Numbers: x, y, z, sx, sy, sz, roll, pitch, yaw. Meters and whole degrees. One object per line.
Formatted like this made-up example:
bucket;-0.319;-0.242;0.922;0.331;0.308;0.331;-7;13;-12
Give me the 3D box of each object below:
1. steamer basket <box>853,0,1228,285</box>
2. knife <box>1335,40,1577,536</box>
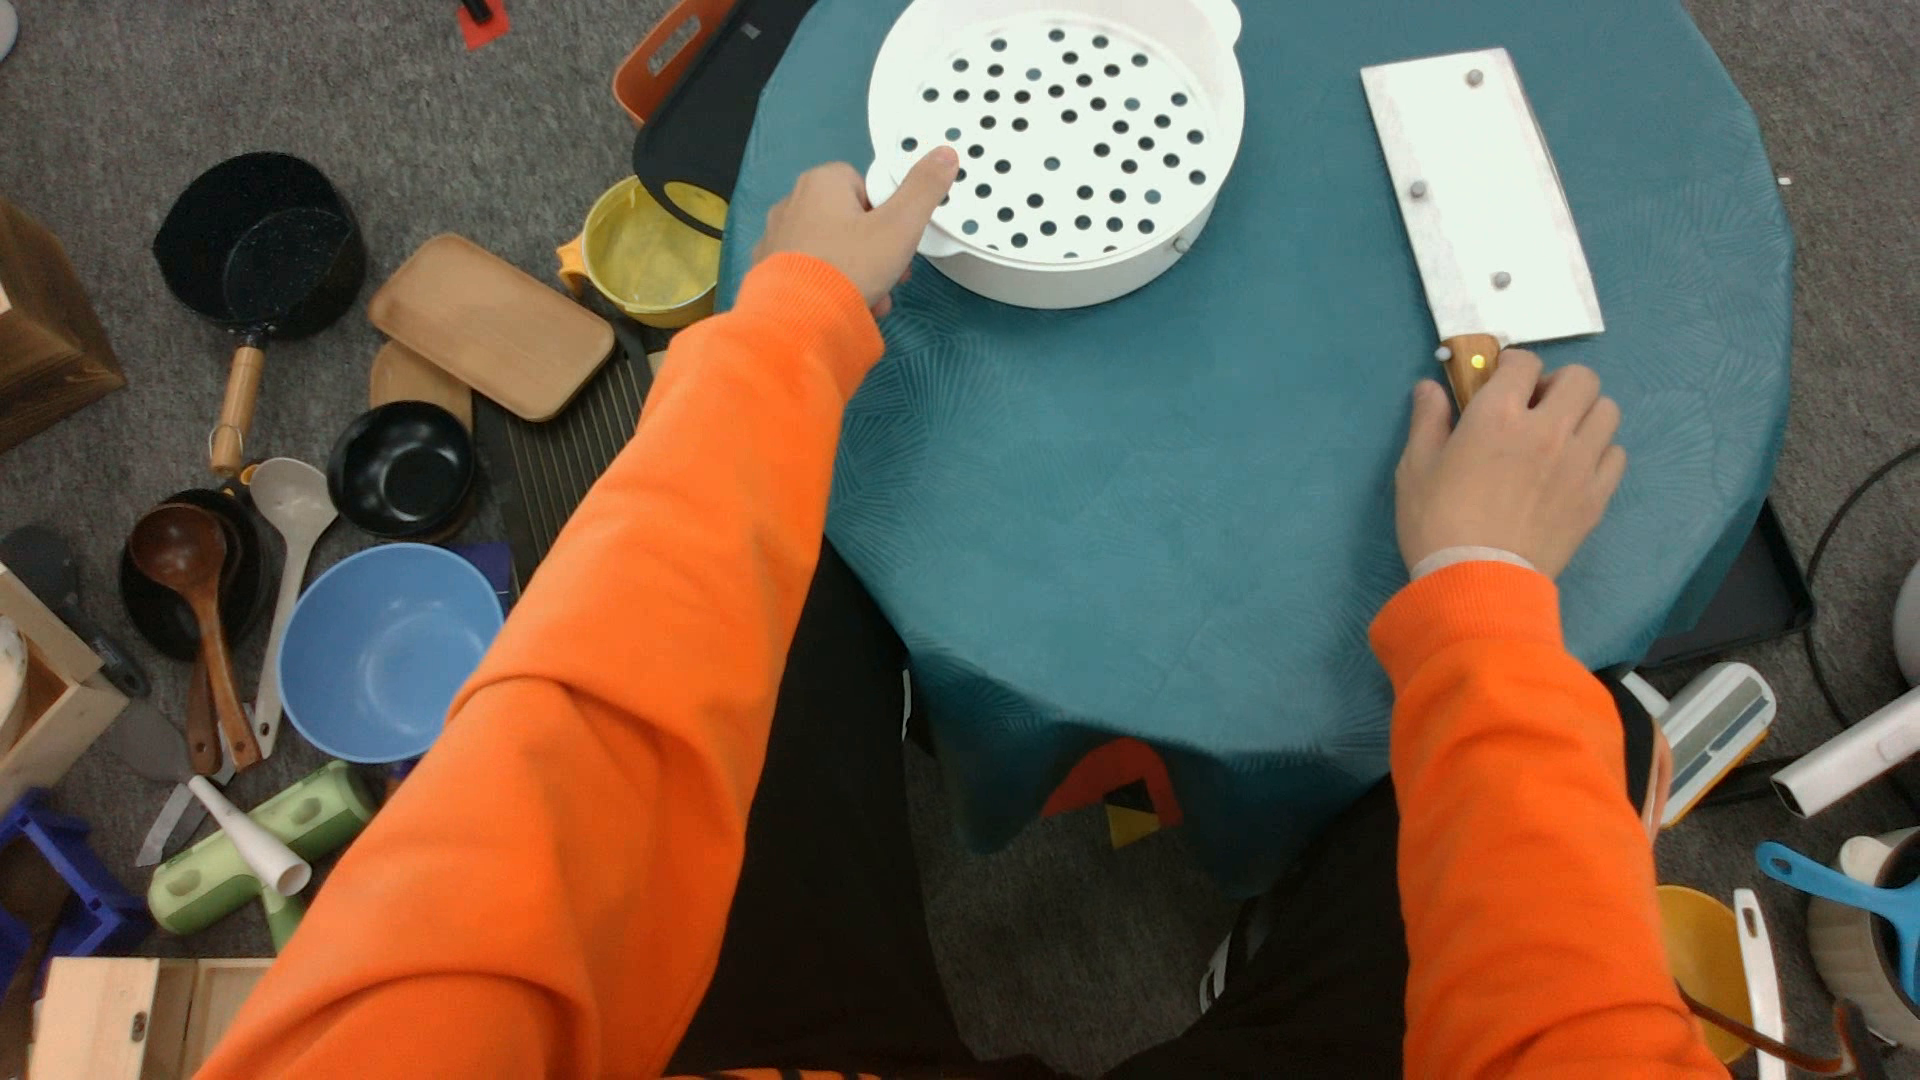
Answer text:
steamer basket;0.044;-0.239;0.770;0.231;0.069;0.202;-39;77;-12
knife;0.289;-0.151;0.766;0.093;0.021;0.306;-9;71;-3
